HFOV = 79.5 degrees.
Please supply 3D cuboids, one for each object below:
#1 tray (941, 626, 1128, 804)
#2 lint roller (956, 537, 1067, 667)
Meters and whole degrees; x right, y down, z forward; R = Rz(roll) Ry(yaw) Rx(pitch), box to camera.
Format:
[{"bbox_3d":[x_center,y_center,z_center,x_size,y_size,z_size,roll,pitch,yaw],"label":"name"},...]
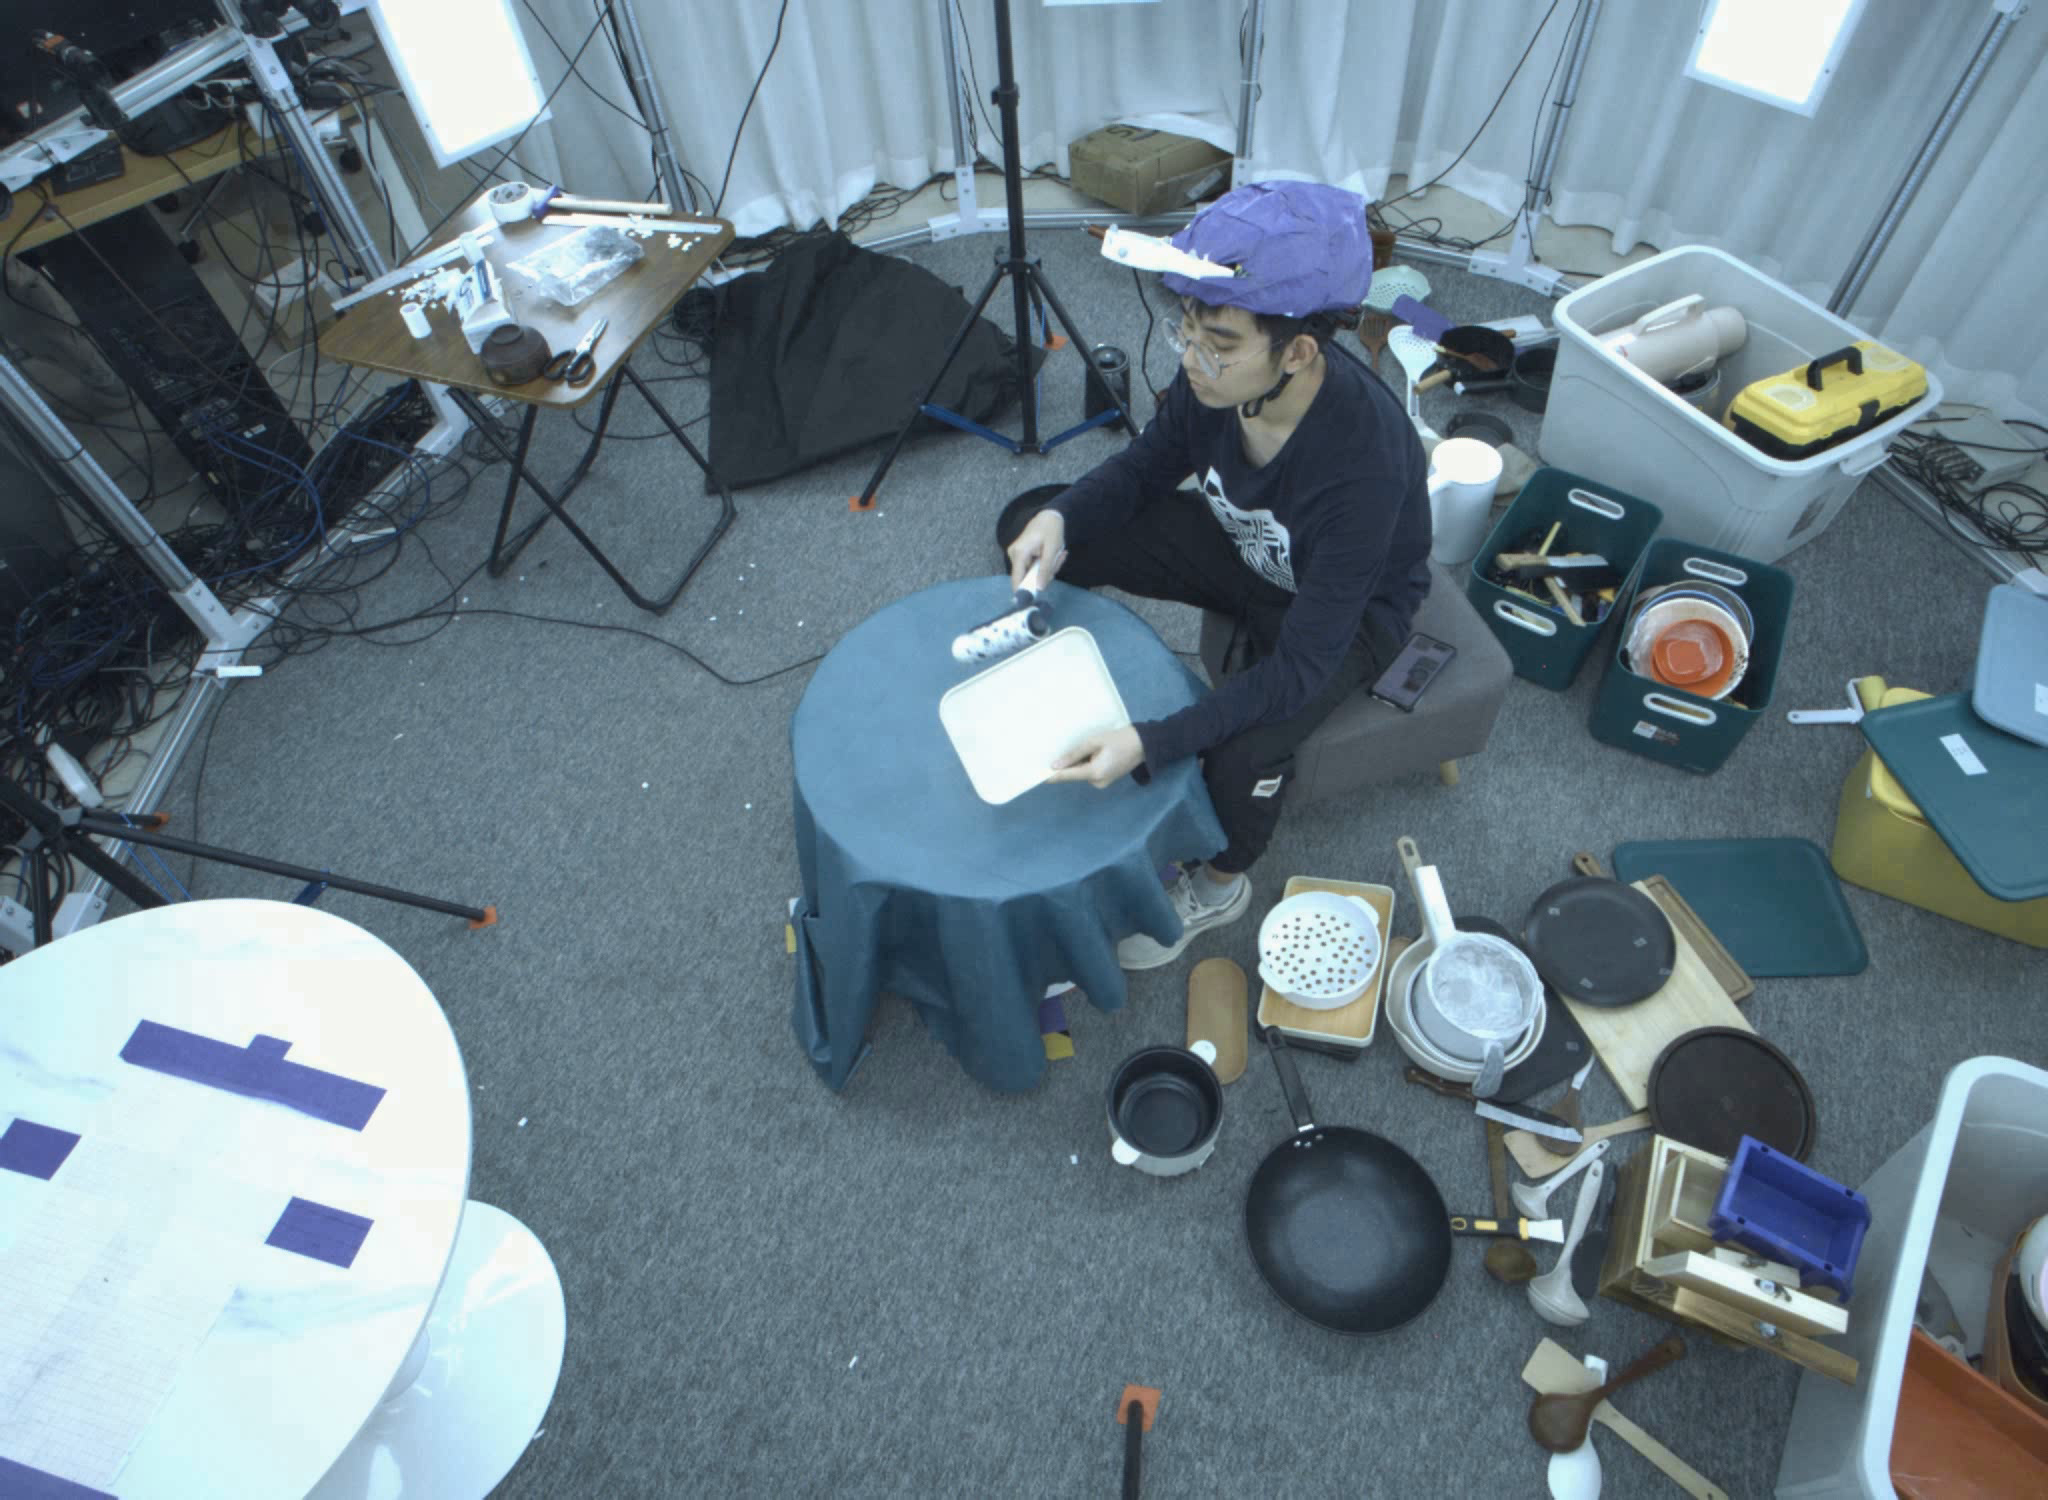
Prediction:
[{"bbox_3d":[0.015,-0.048,1.654,0.241,0.173,0.017,-29,16,-17],"label":"tray"},{"bbox_3d":[0.005,-0.235,1.814,0.173,0.051,0.247,-17,38,45],"label":"lint roller"}]
